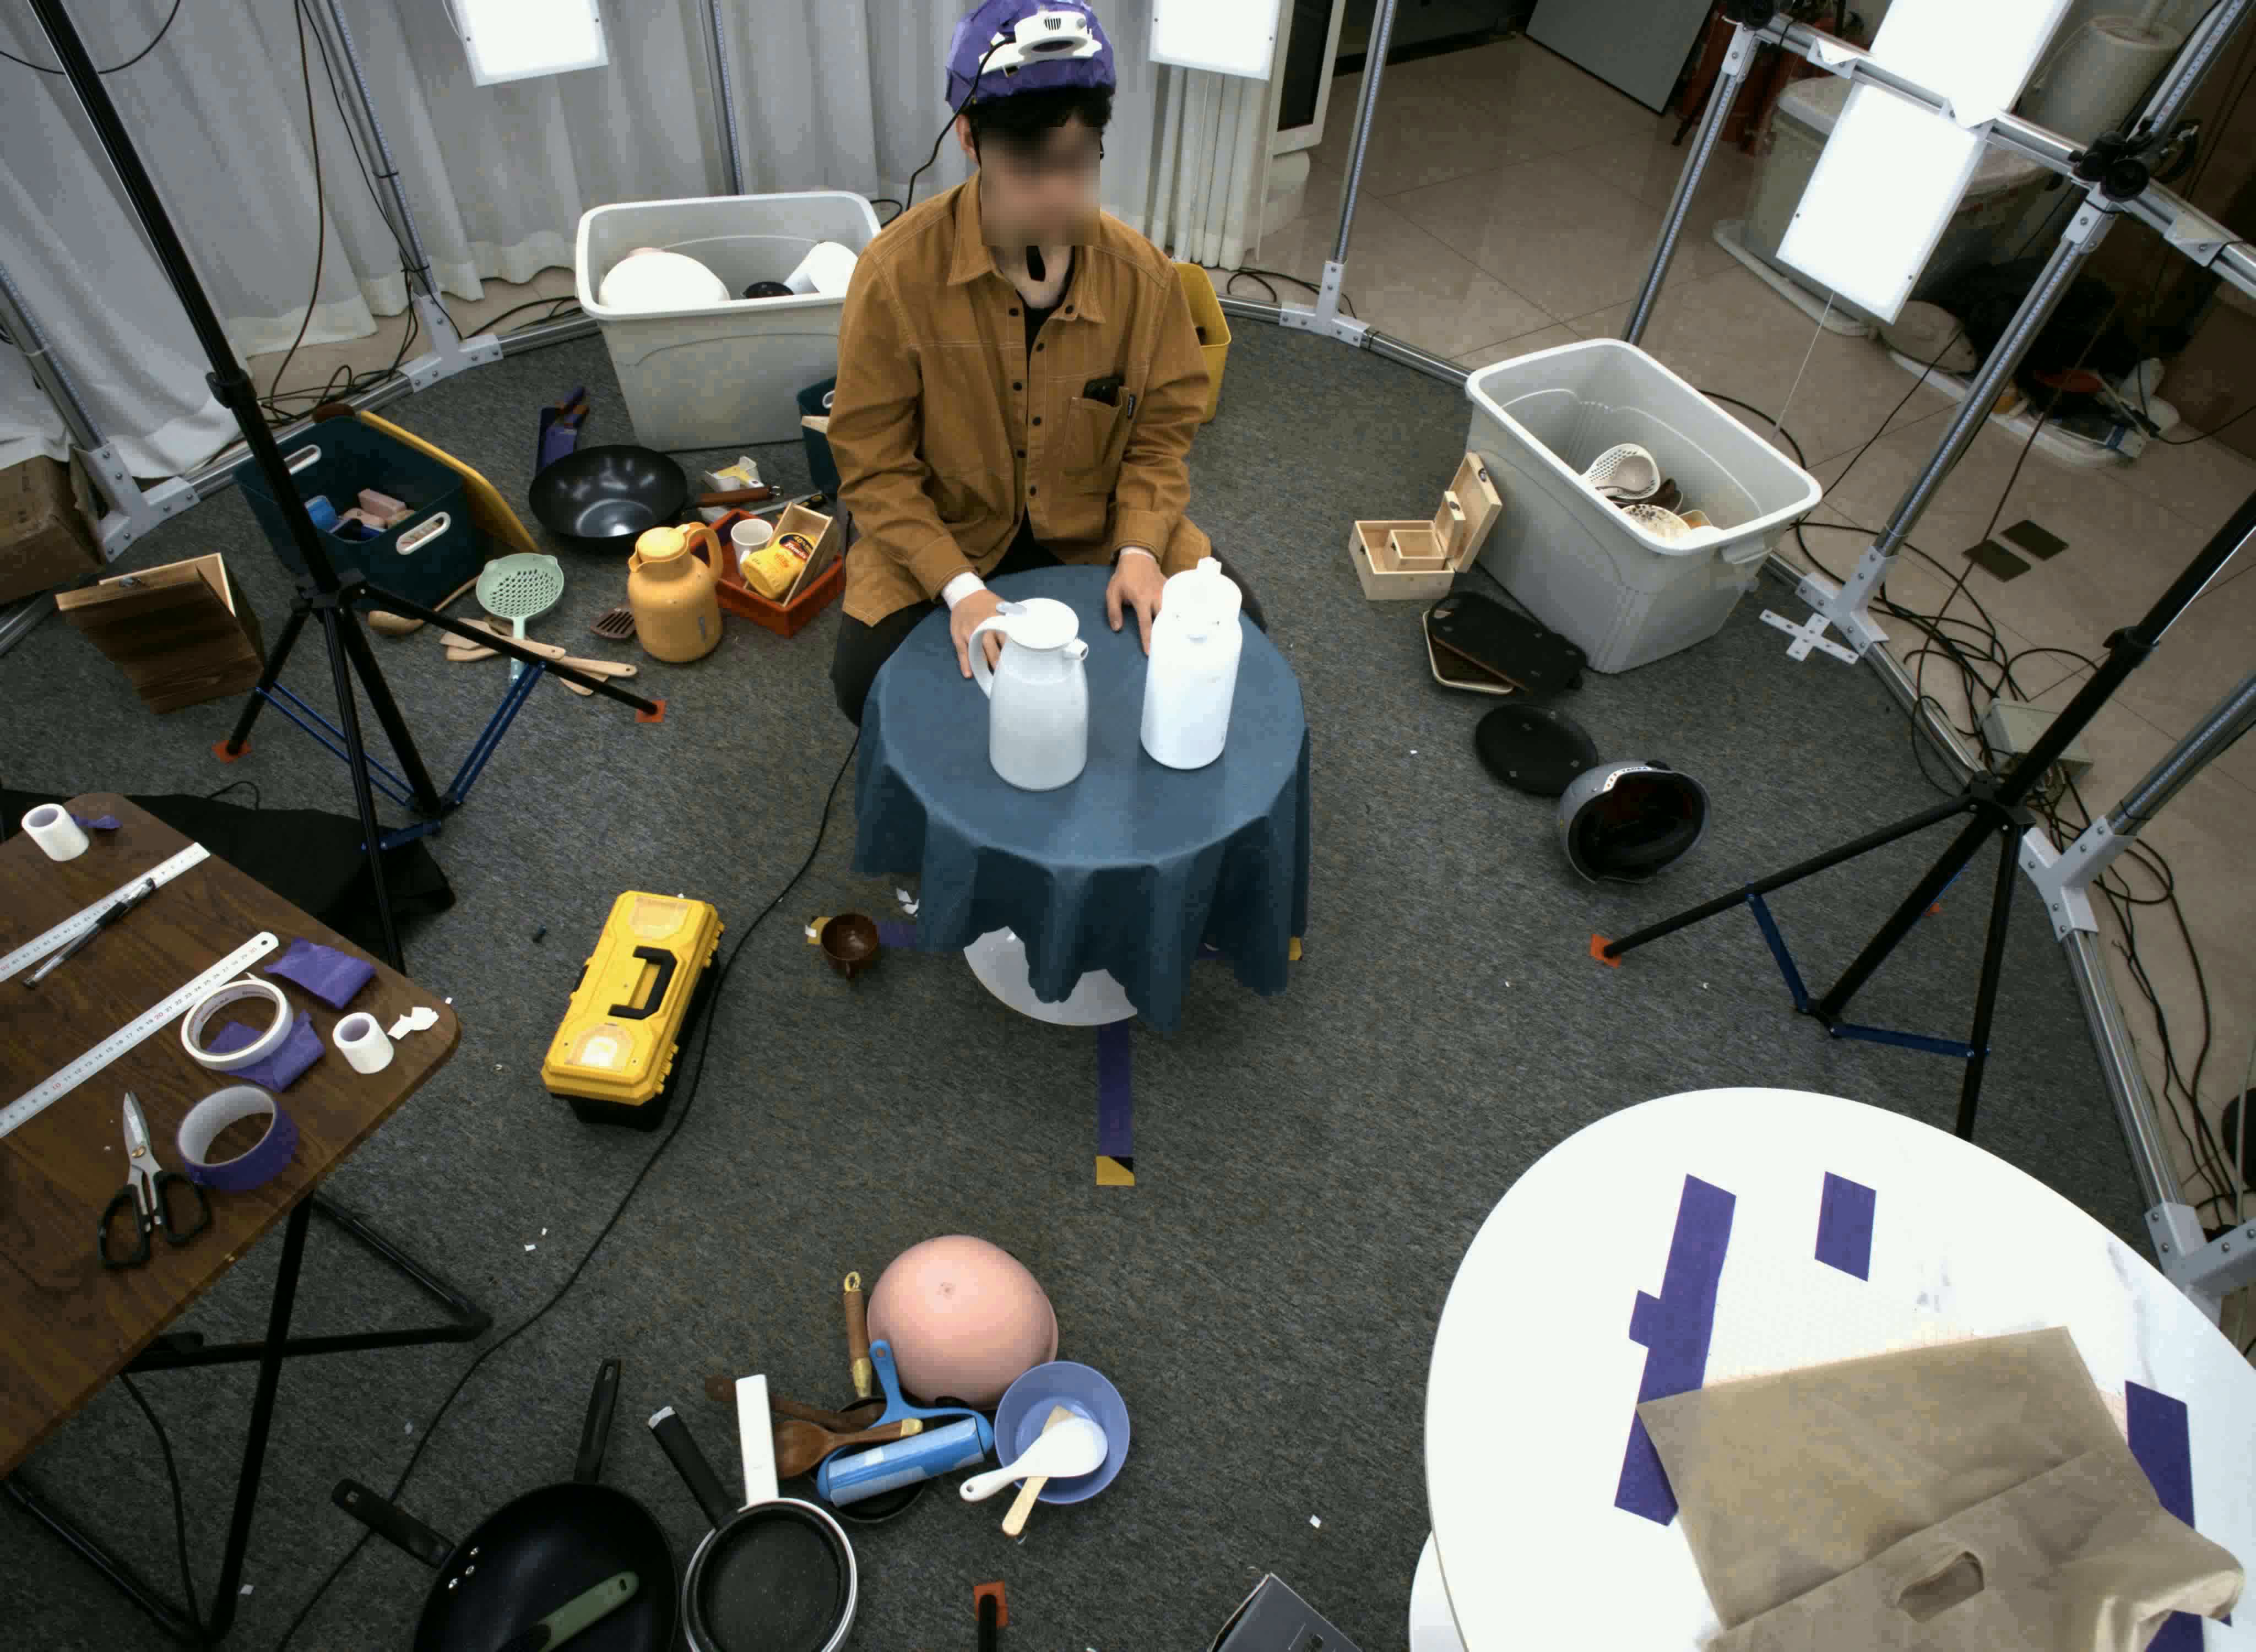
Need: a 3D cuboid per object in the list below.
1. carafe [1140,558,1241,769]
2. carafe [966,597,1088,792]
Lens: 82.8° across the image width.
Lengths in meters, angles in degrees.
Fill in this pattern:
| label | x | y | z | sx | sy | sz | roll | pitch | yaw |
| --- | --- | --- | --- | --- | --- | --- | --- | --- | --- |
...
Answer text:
| label | x | y | z | sx | sy | sz | roll | pitch | yaw |
| --- | --- | --- | --- | --- | --- | --- | --- | --- | --- |
| carafe | 0.084 | -0.215 | 1.689 | 0.124 | 0.262 | 0.177 | 8 | 49 | 5 |
| carafe | -0.133 | -0.181 | 1.658 | 0.169 | 0.242 | 0.135 | 24 | 52 | 17 |
